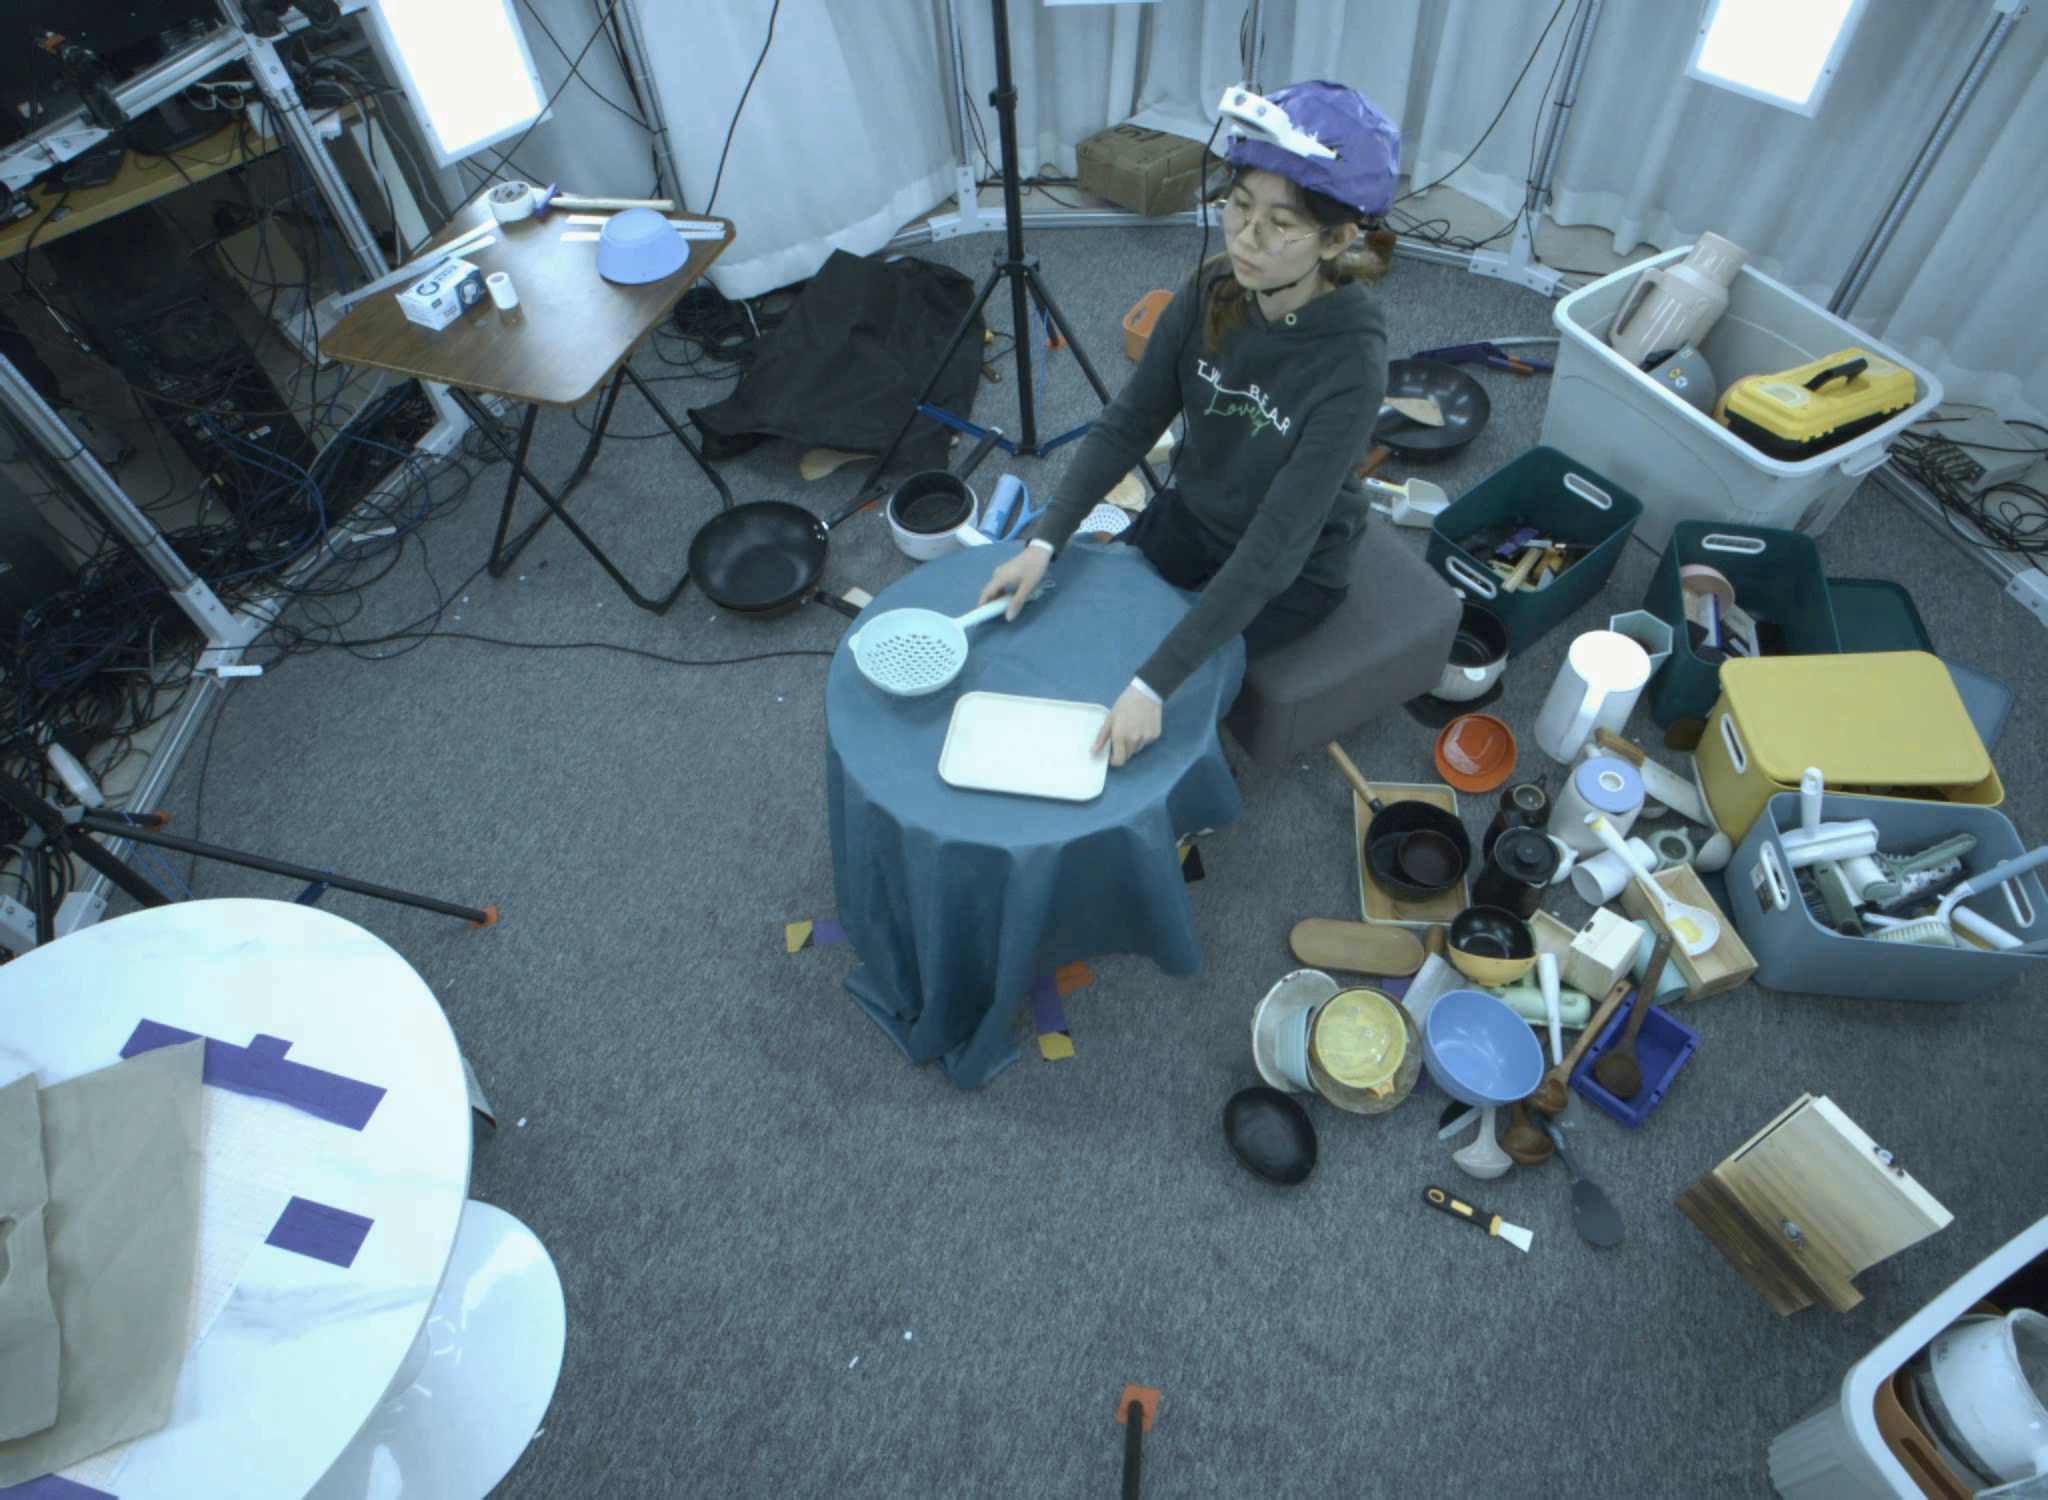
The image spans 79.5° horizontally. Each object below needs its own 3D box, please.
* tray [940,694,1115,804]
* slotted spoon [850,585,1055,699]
[{"bbox_3d":[0.006,-0.001,1.789,0.239,0.017,0.170,7,56,6],"label":"tray"},{"bbox_3d":[-0.093,-0.186,1.892,0.361,0.076,0.166,-35,62,-21],"label":"slotted spoon"}]
